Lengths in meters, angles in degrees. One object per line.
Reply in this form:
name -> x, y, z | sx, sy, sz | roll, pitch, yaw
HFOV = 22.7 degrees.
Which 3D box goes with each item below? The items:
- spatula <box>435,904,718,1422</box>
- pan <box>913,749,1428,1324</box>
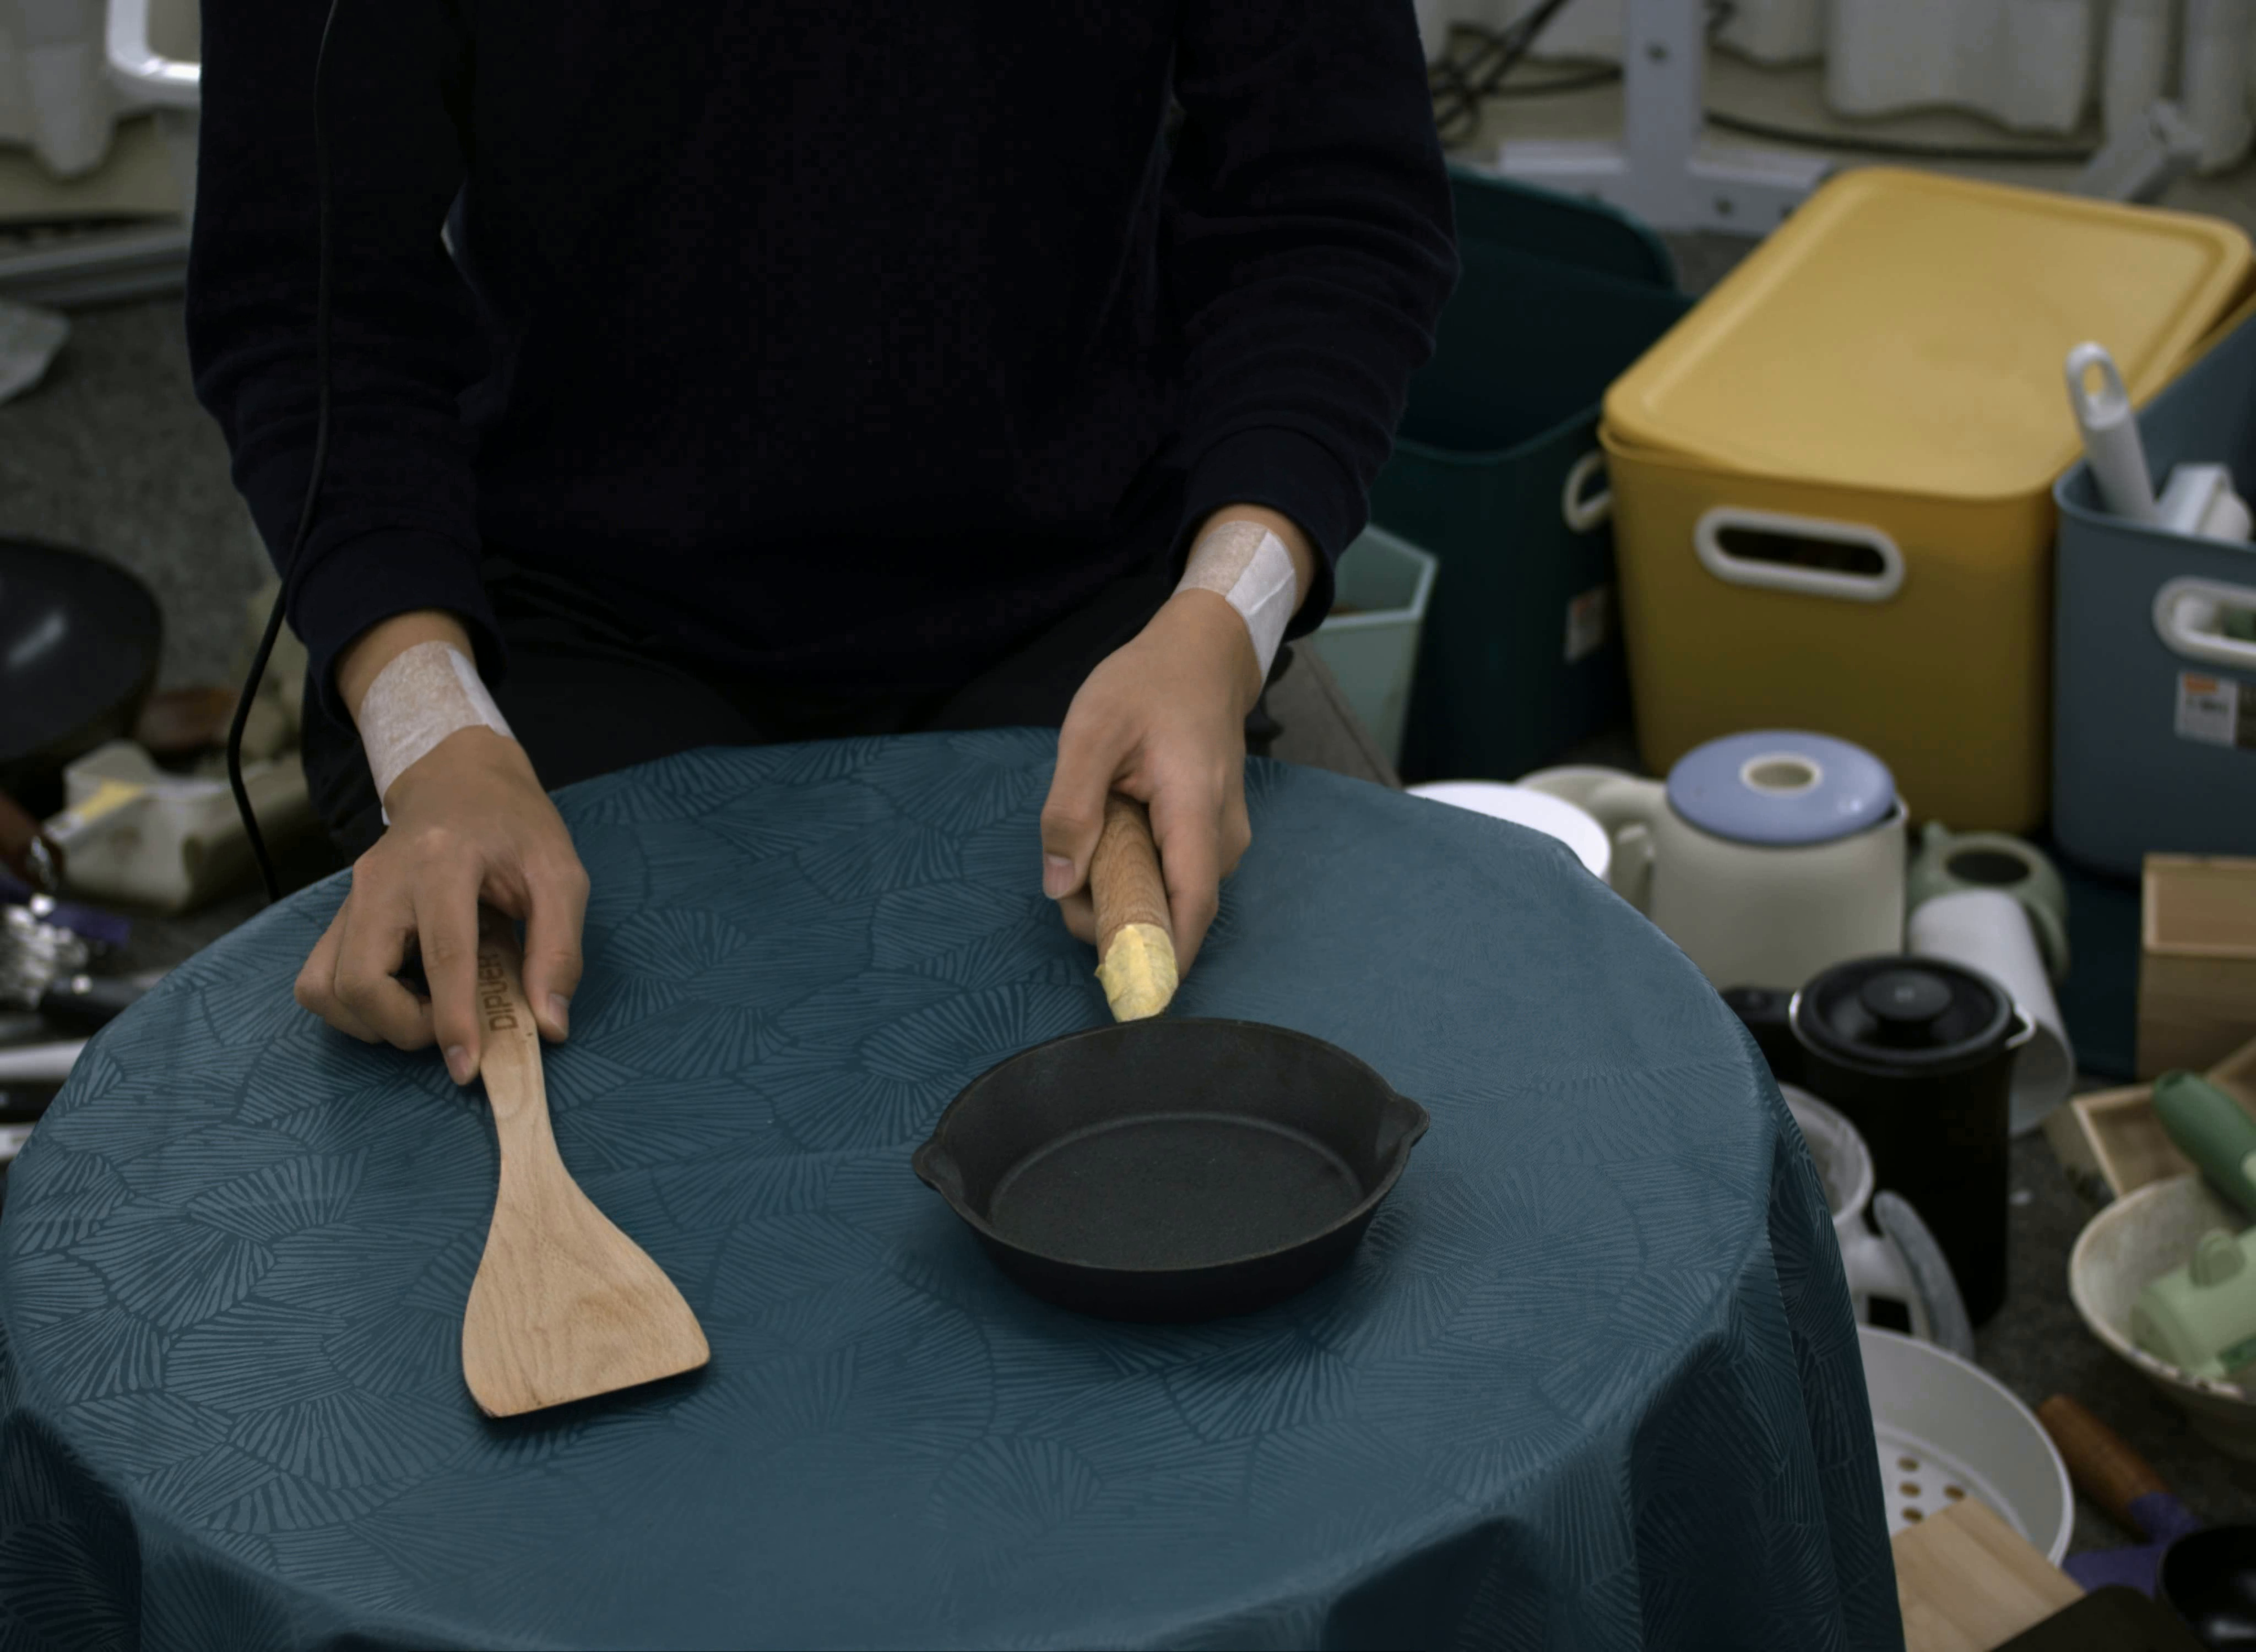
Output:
spatula -> -0.200, 0.107, 1.888 | 0.080, 0.016, 0.331 | -7, 31, -11
pan -> 0.009, 0.069, 1.909 | 0.168, 0.049, 0.329 | -4, 29, -2
